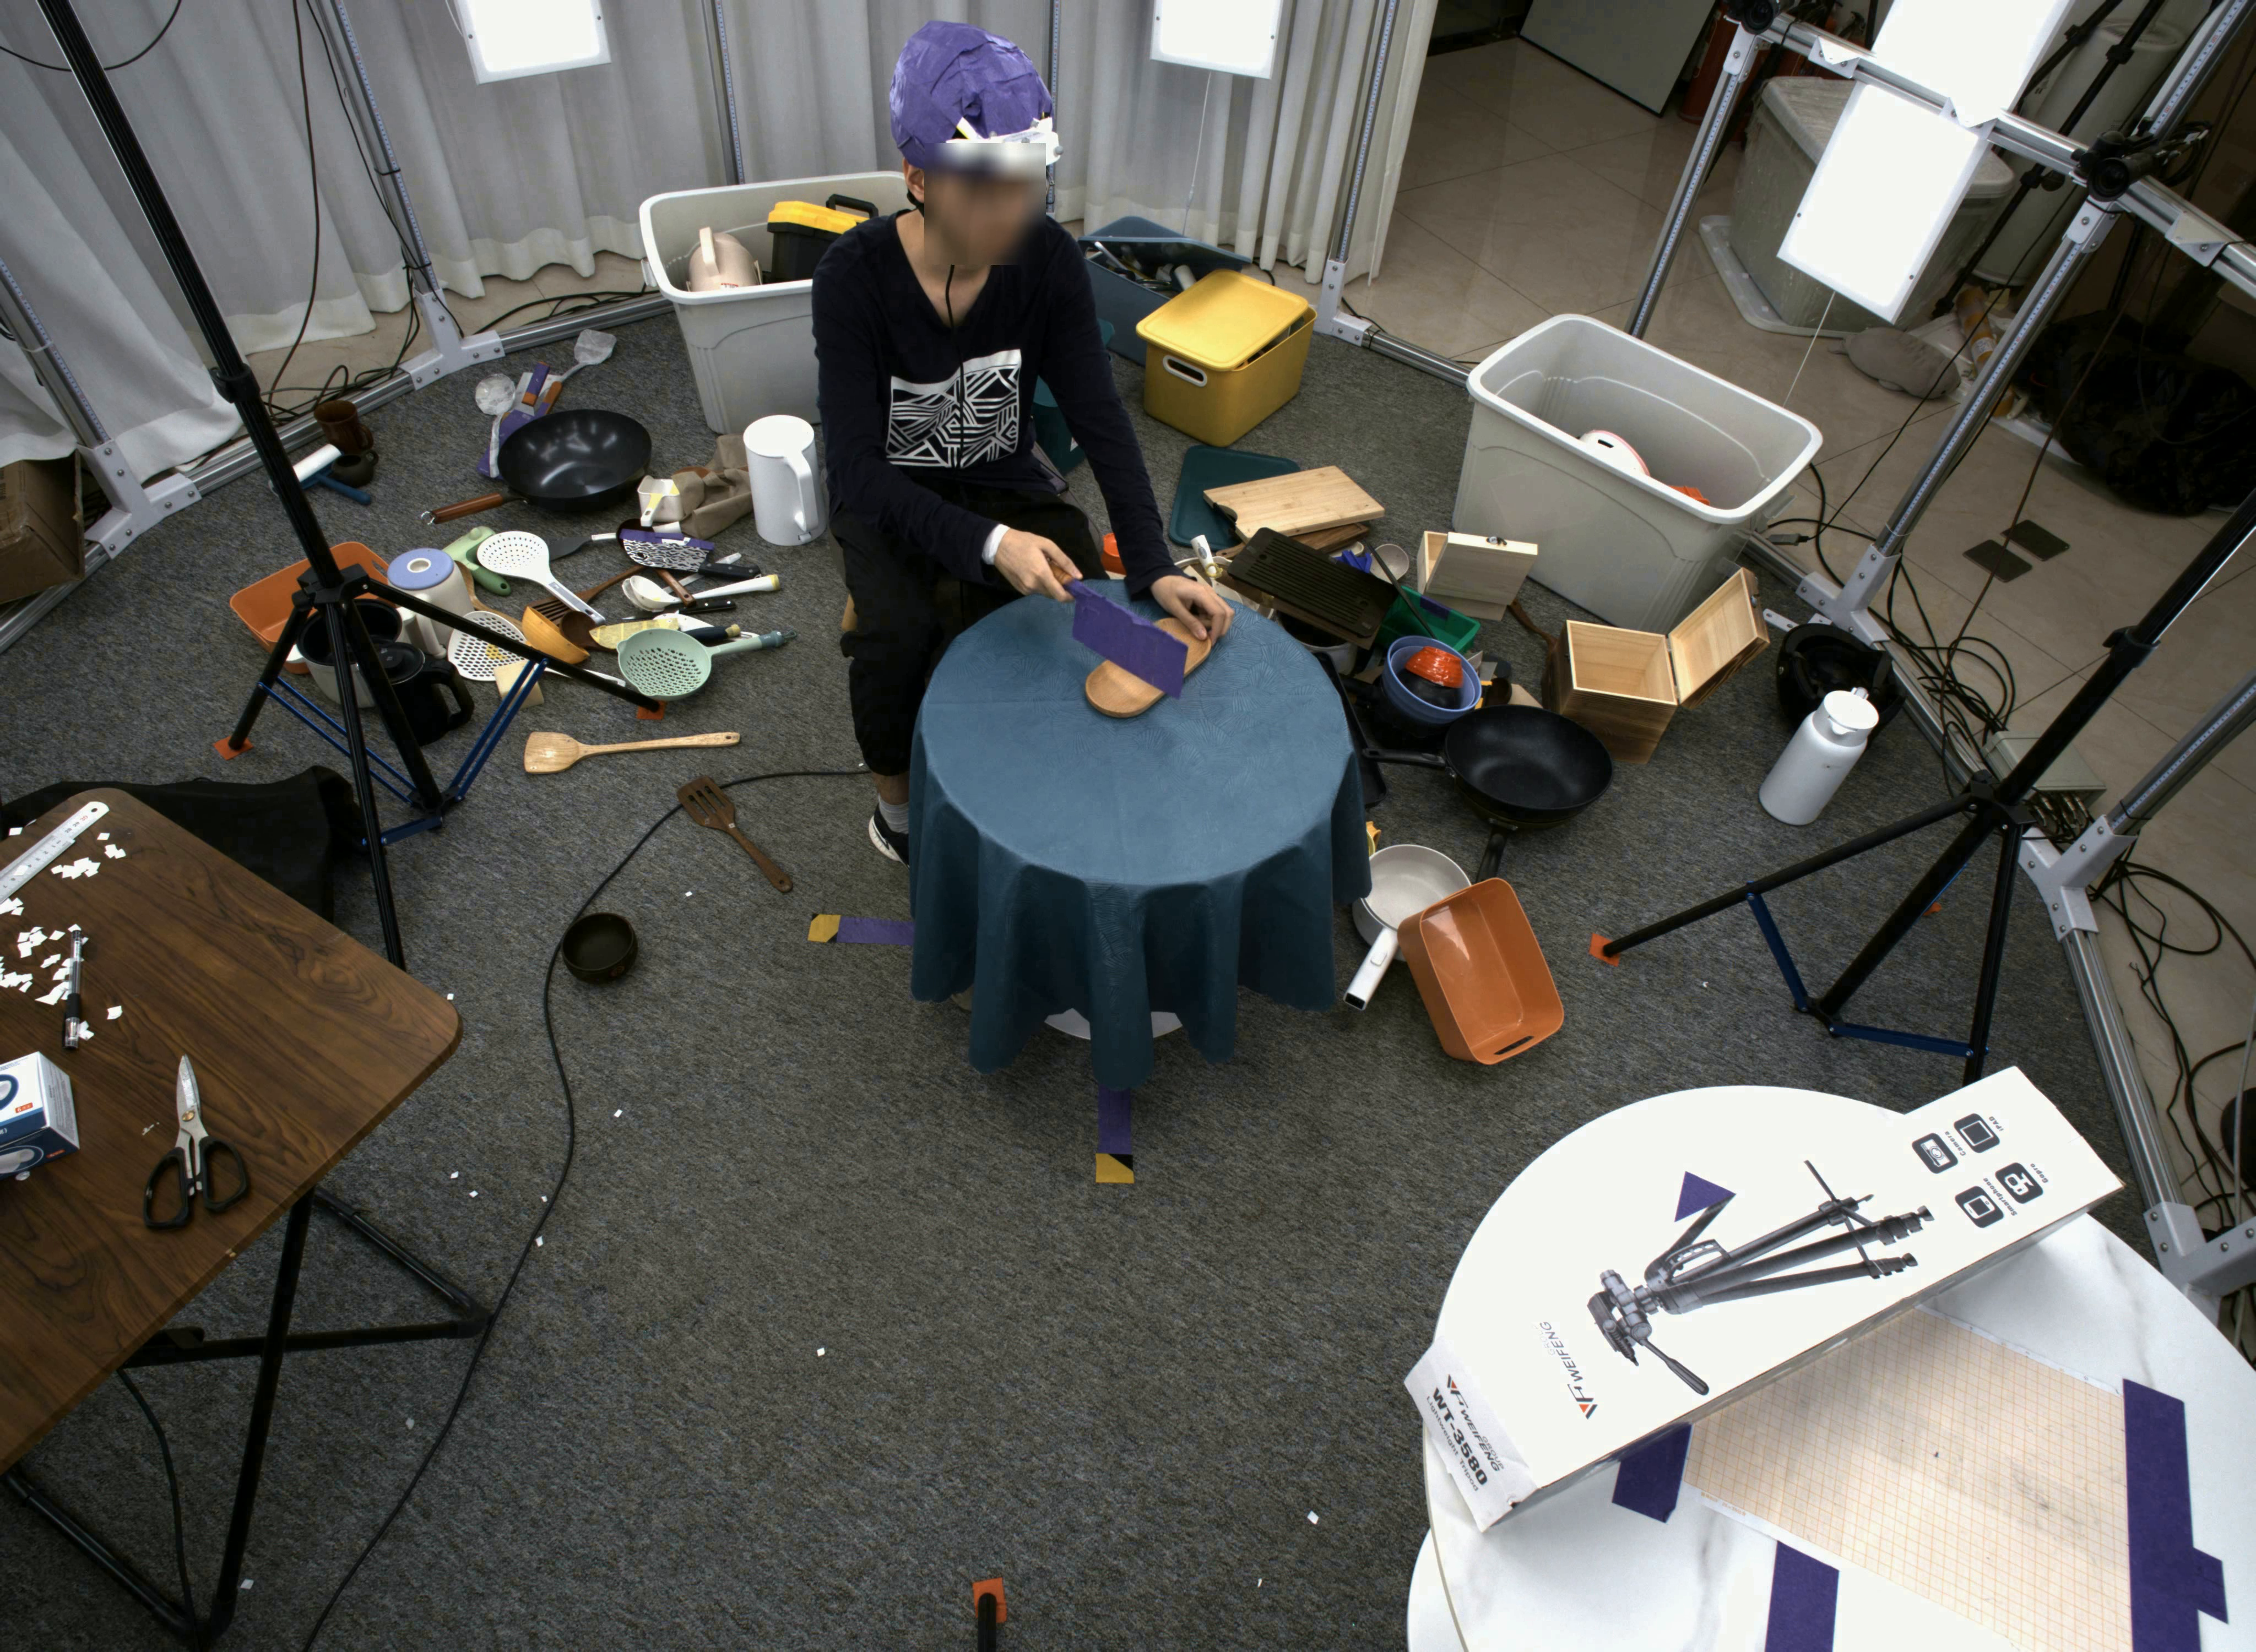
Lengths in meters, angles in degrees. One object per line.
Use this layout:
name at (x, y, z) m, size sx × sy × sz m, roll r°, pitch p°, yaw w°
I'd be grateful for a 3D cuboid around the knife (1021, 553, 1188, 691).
knife at (-0.039, -0.286, 1.817) m, size 0.032 × 0.101 × 0.320 m, roll -25°, pitch 47°, yaw -39°

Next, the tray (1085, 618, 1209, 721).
tray at (0.030, -0.229, 1.857) m, size 0.103 × 0.020 × 0.234 m, roll 30°, pitch 56°, yaw 22°
